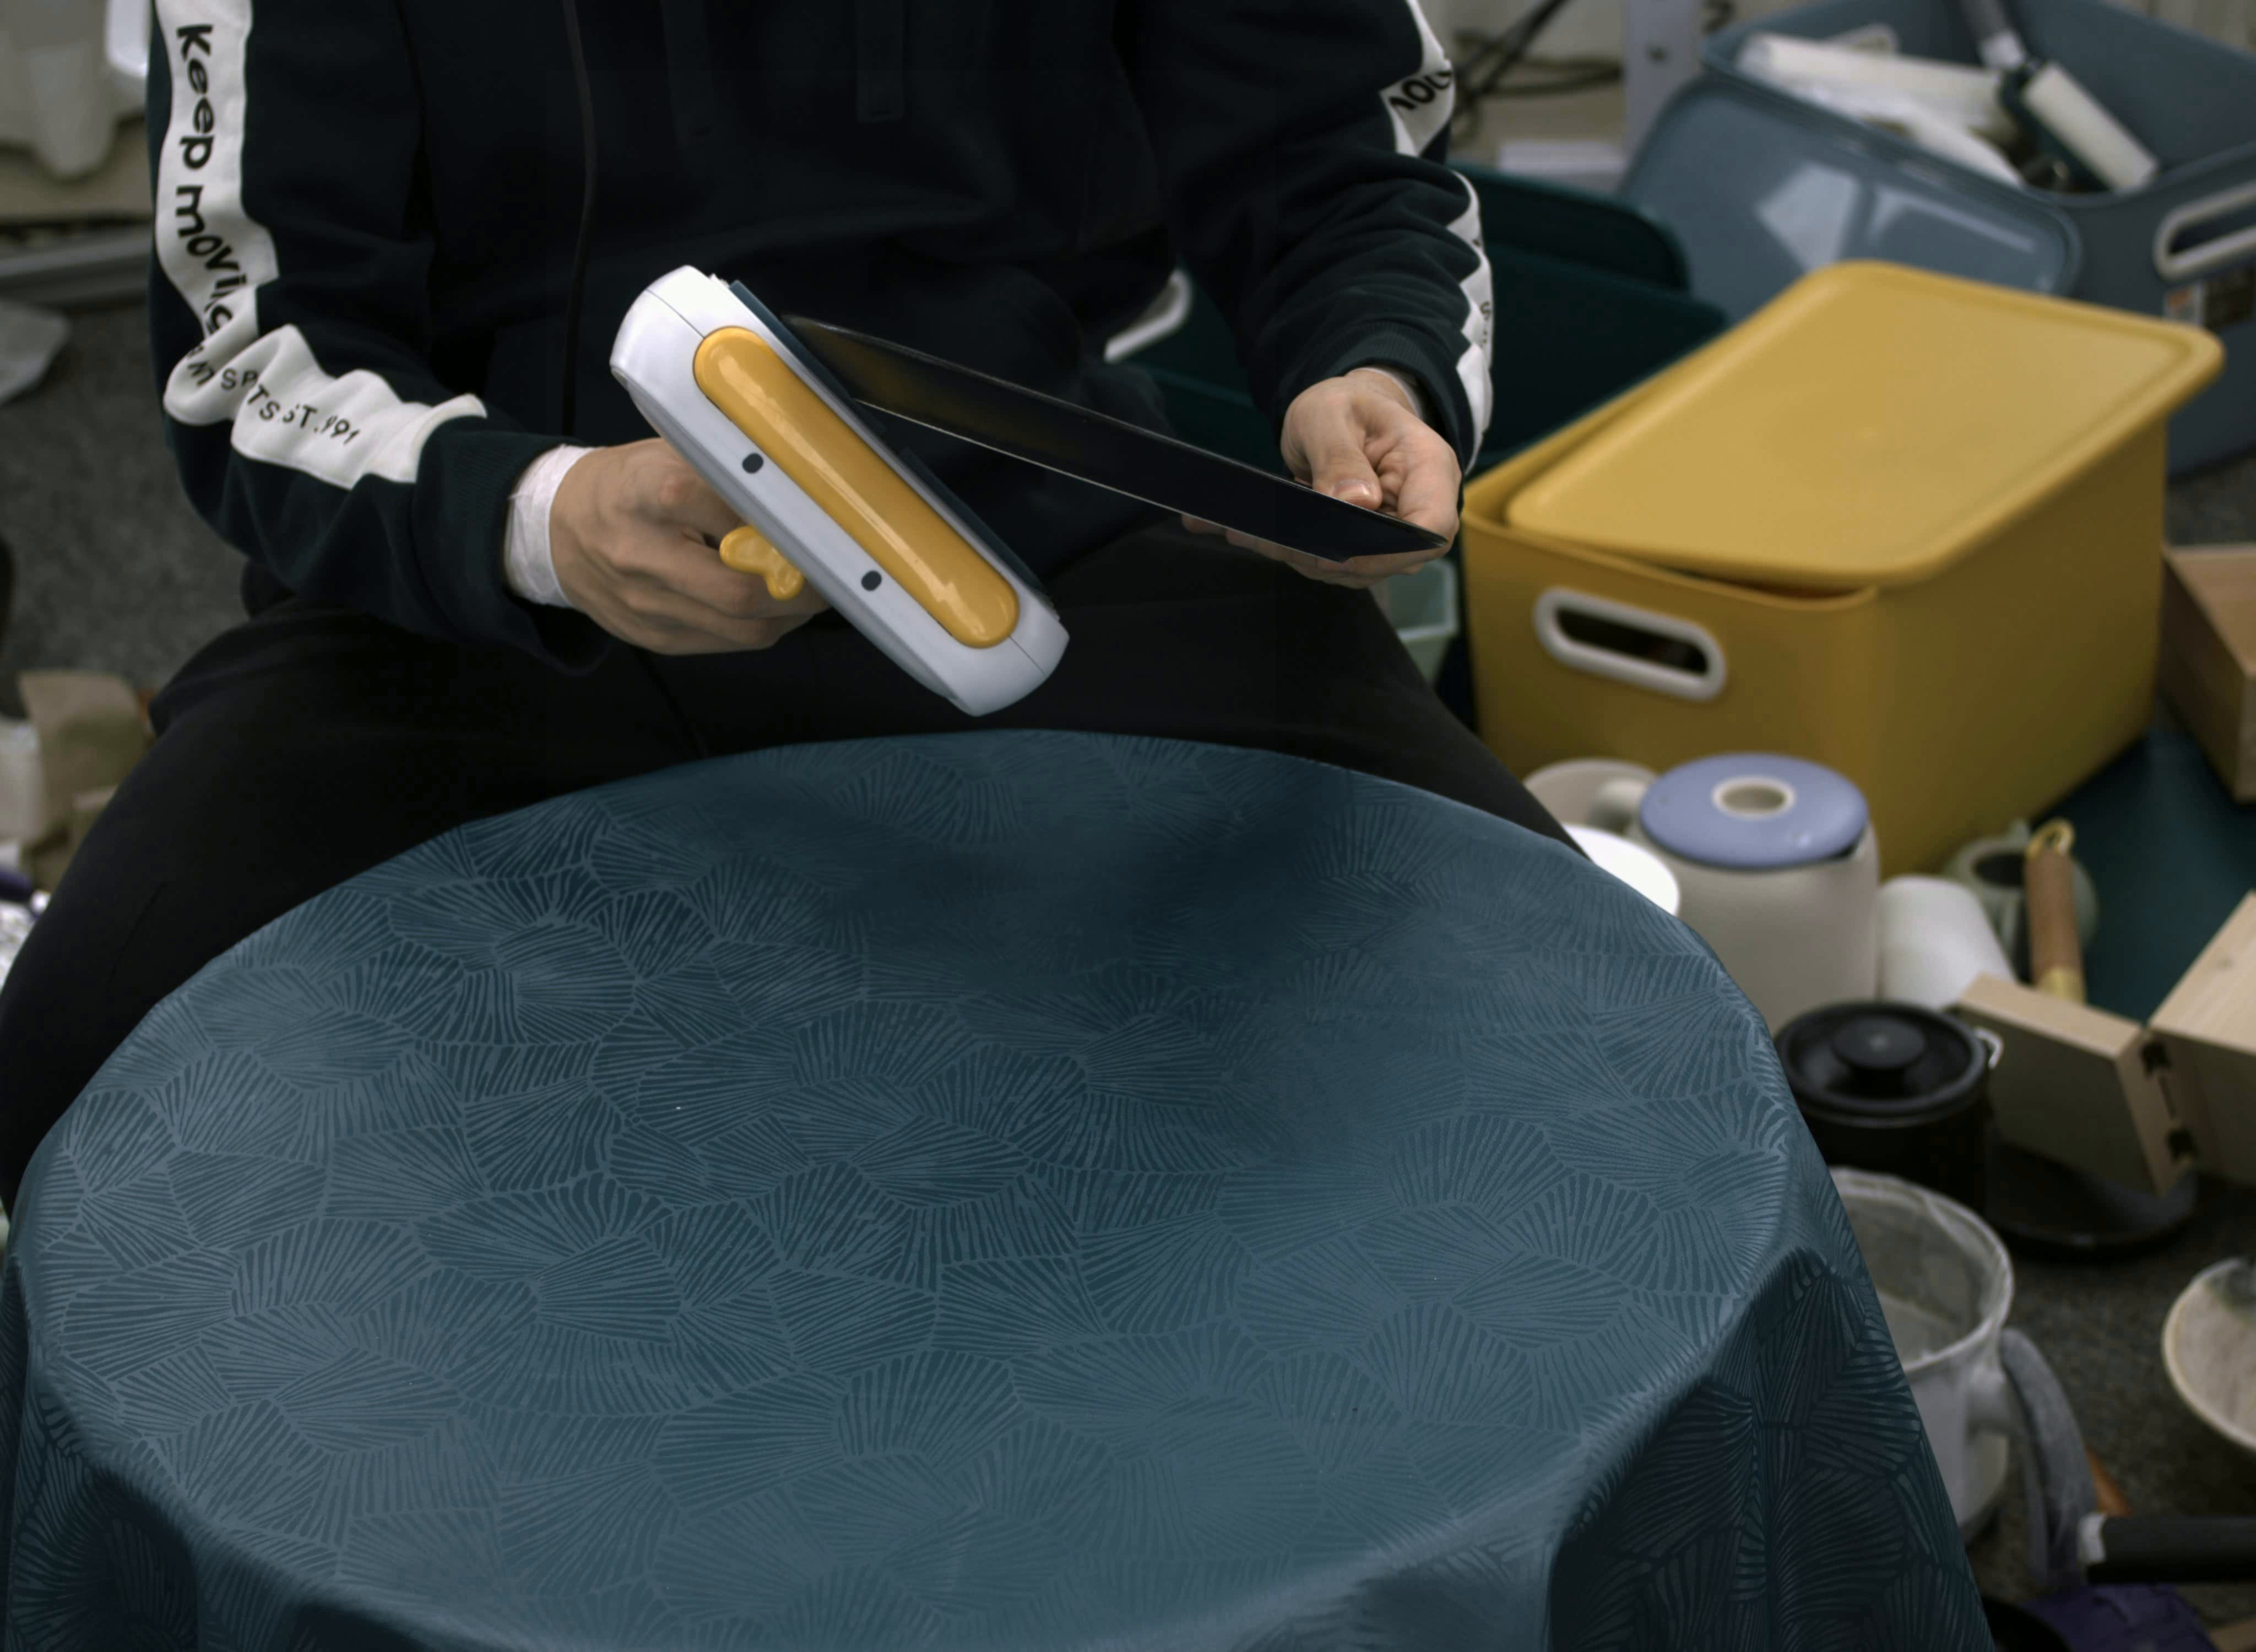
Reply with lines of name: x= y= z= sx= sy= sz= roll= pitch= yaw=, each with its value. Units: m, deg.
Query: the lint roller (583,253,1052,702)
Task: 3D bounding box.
lint roller: x=-0.124 y=-0.108 z=2.000 sx=0.075 sy=0.192 sz=0.191 roll=-52 pitch=7 yaw=-14

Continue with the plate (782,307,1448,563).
plate: x=-0.007 y=-0.130 z=1.947 sx=0.243 sy=0.023 sz=0.245 roll=19 pitch=3 yaw=0
